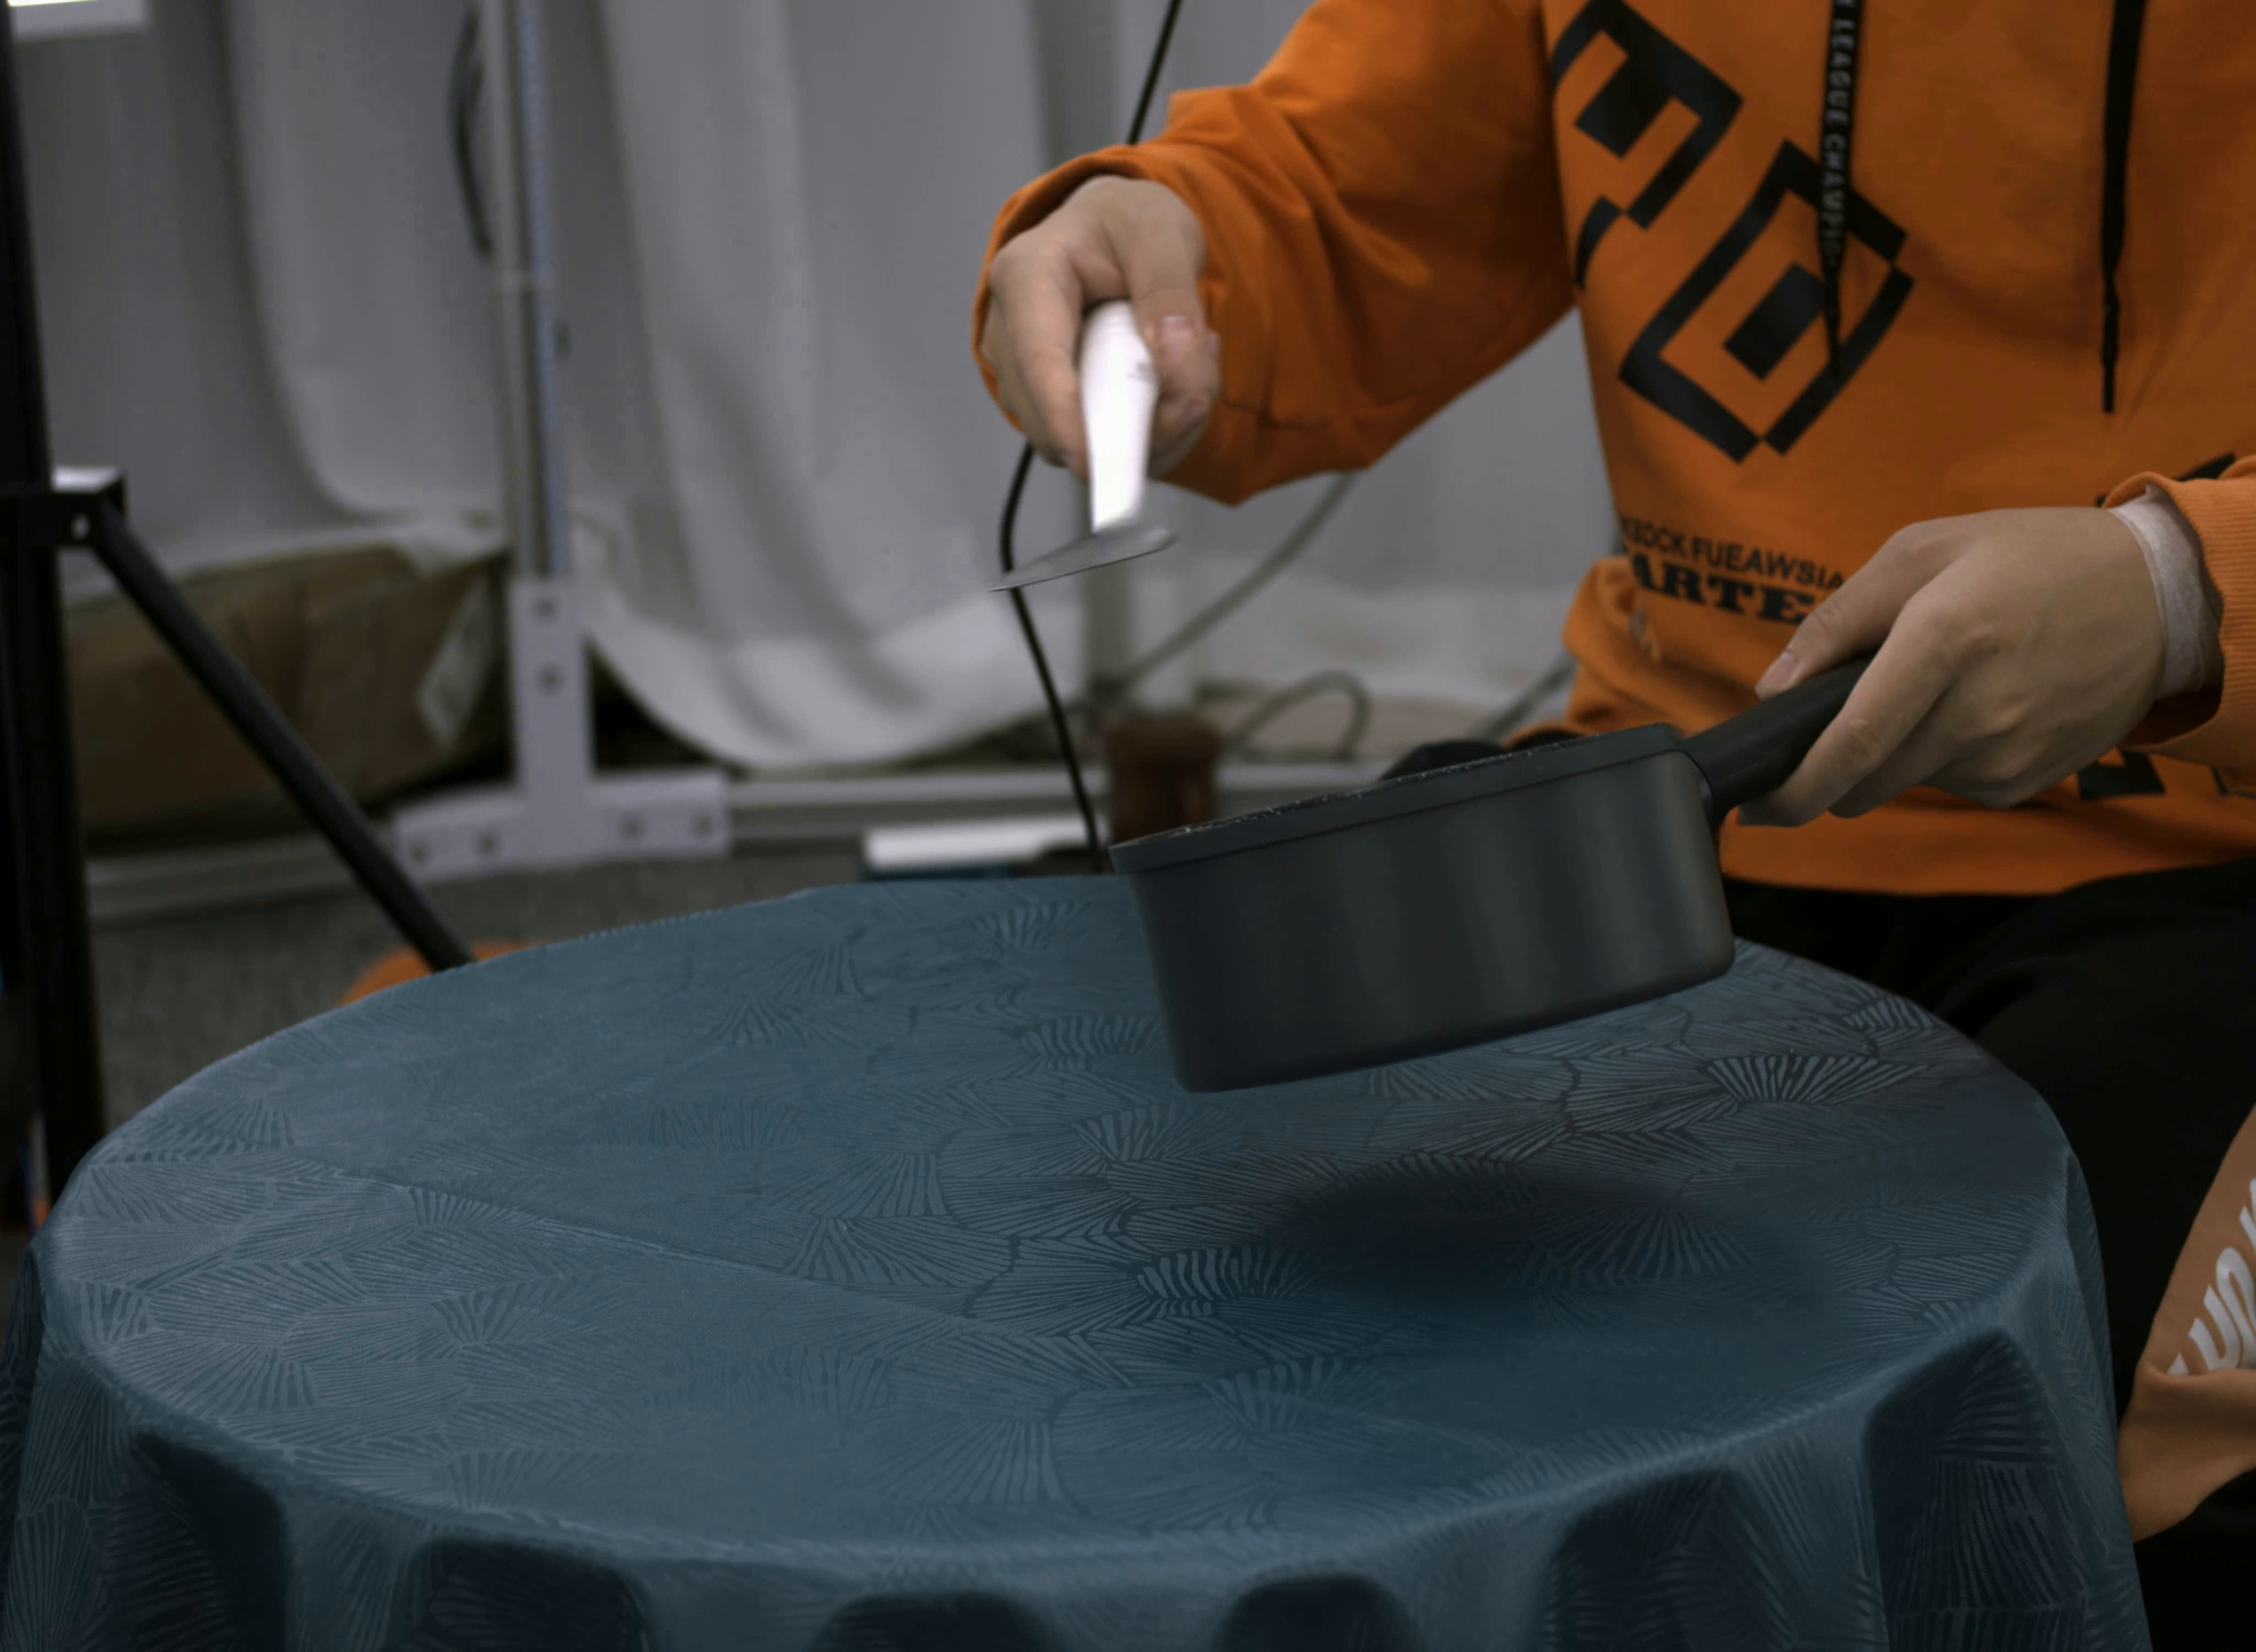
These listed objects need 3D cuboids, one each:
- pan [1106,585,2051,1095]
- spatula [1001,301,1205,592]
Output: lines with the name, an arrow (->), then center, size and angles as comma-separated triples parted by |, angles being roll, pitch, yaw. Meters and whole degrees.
pan -> 0.148, 0.004, 1.542 | 0.321, 0.087, 0.175 | -15, 2, -32
spatula -> -0.002, -0.113, 1.650 | 0.058, 0.032, 0.288 | -10, 19, 5
